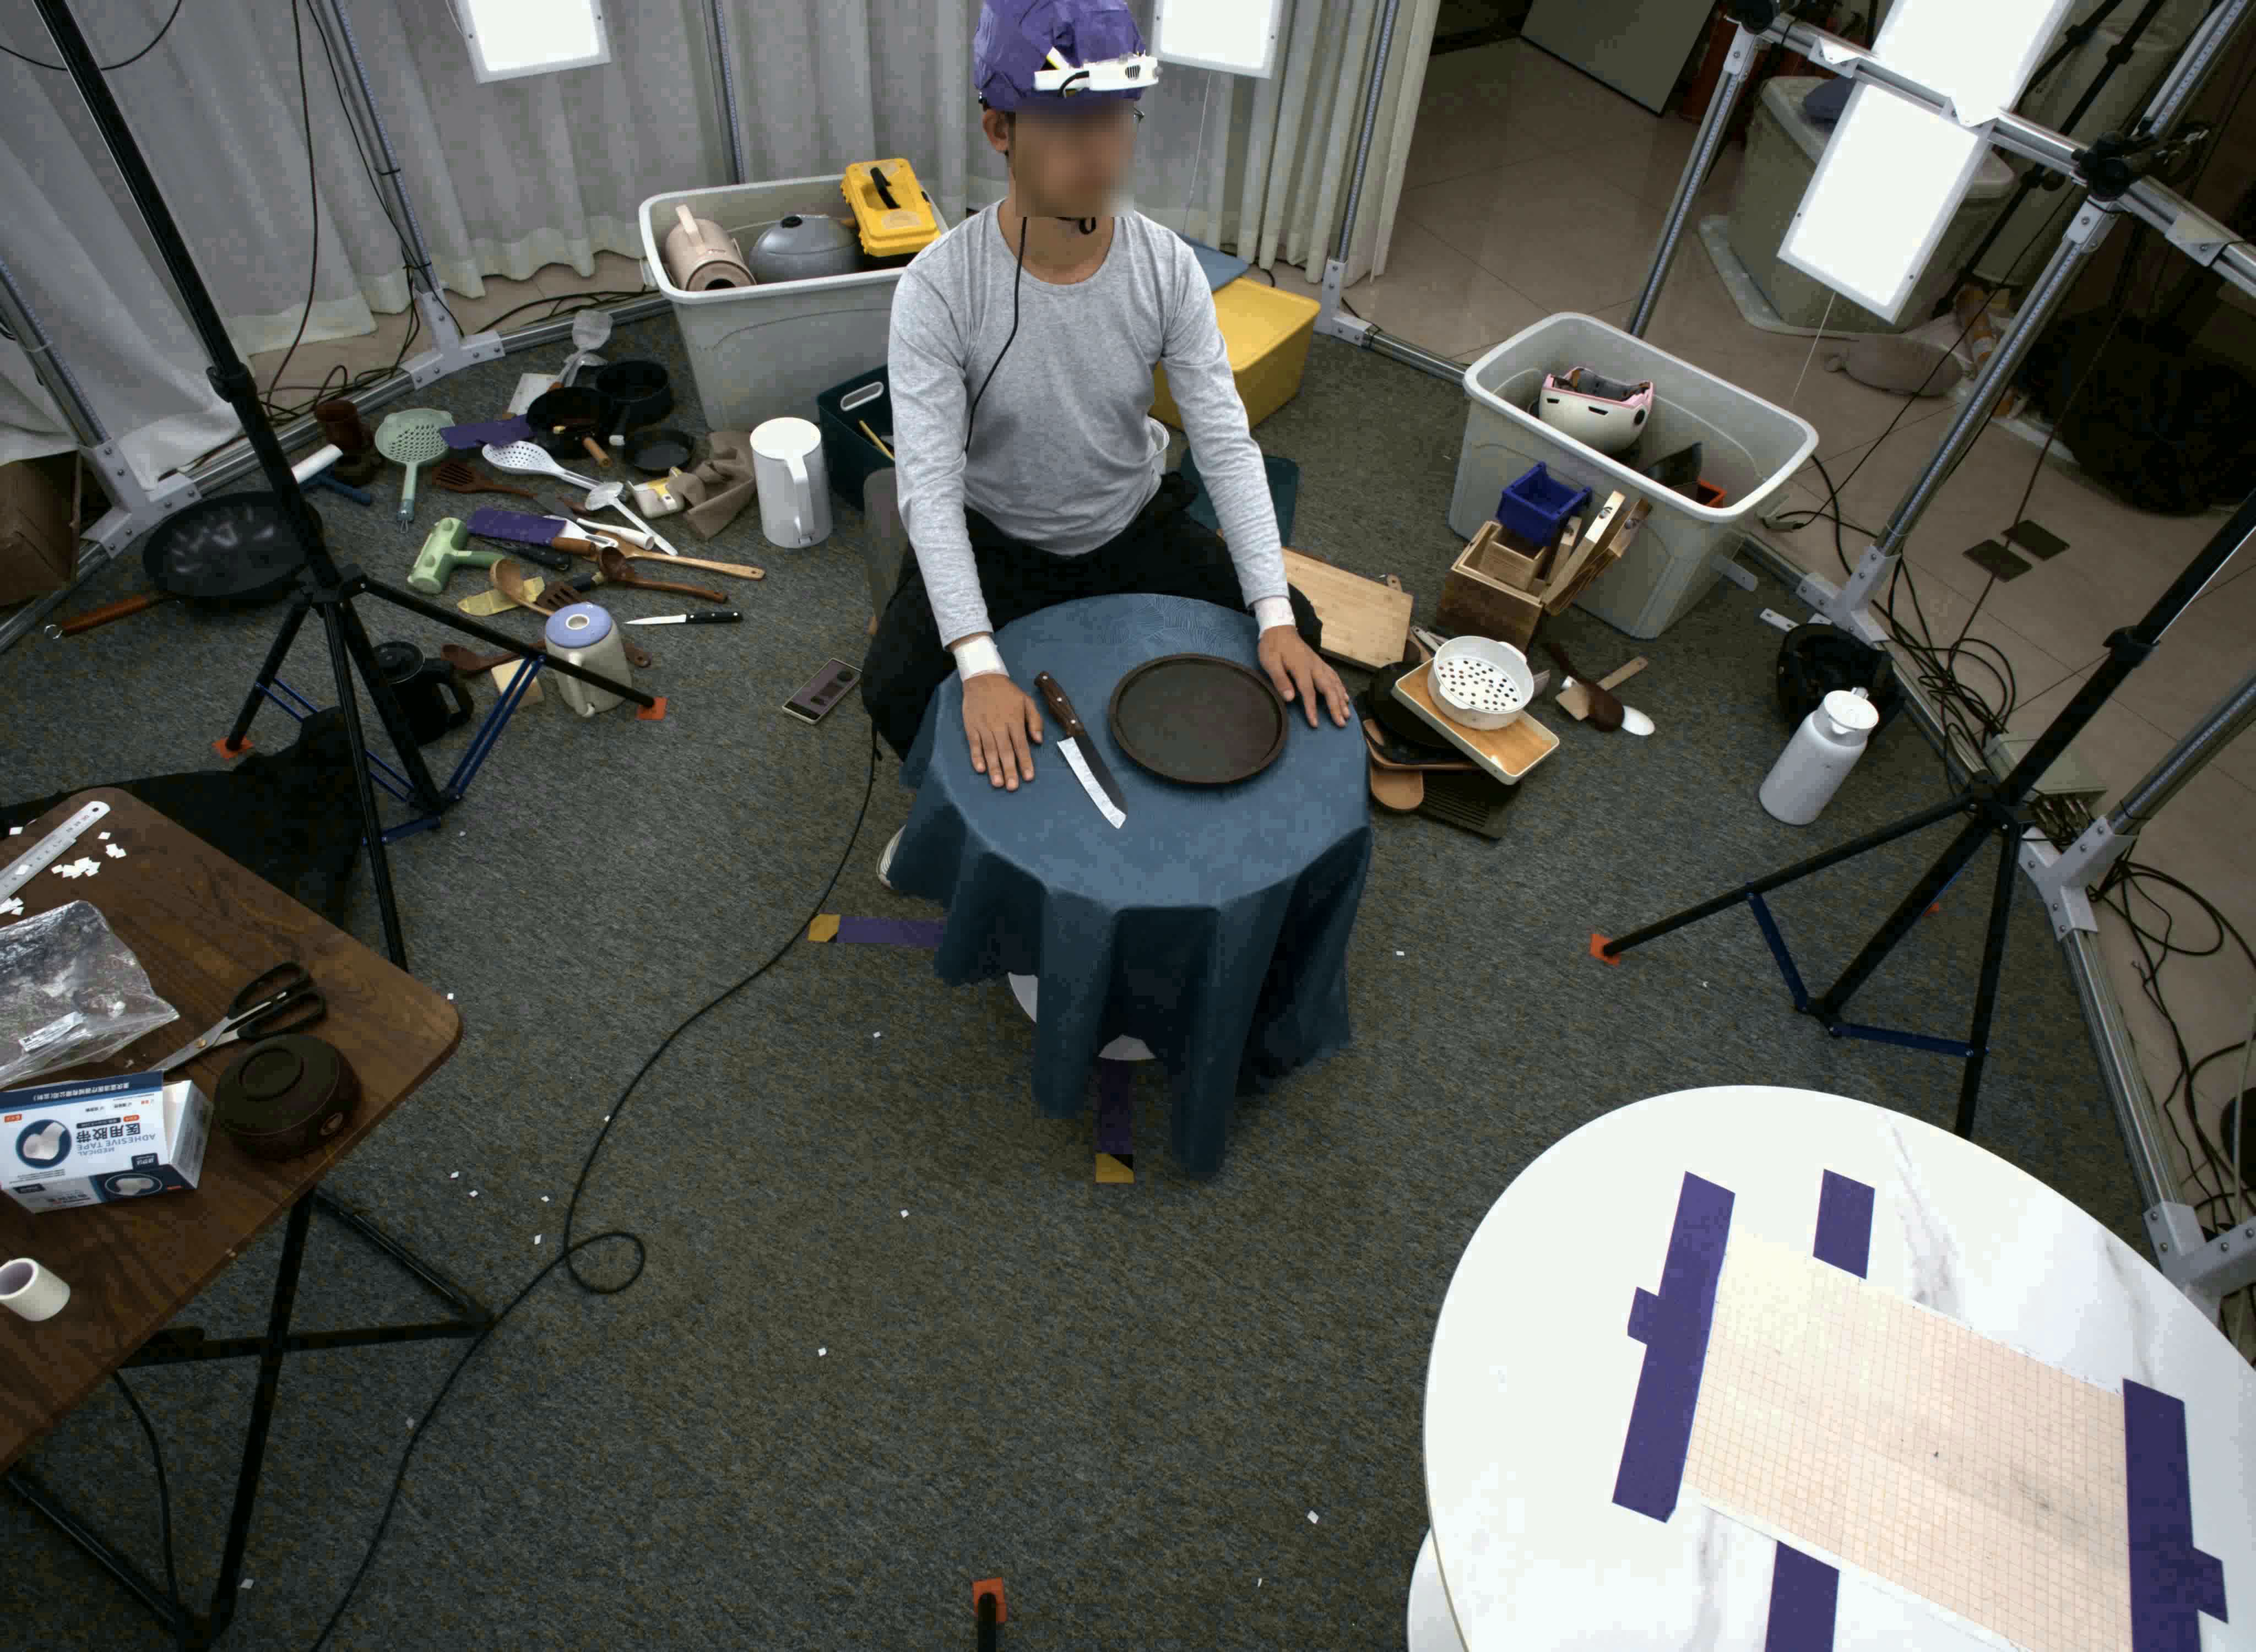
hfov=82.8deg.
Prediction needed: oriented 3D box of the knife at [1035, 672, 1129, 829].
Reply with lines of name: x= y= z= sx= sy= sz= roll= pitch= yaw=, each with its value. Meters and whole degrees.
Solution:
knife: x=-0.065 y=-0.106 z=1.745 sx=0.050 sy=0.019 sz=0.296 roll=-19 pitch=55 yaw=-13

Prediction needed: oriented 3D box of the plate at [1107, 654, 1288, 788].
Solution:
plate: x=0.097 y=-0.149 z=1.787 sx=0.254 sy=0.028 sz=0.261 roll=1 pitch=49 yaw=-1
